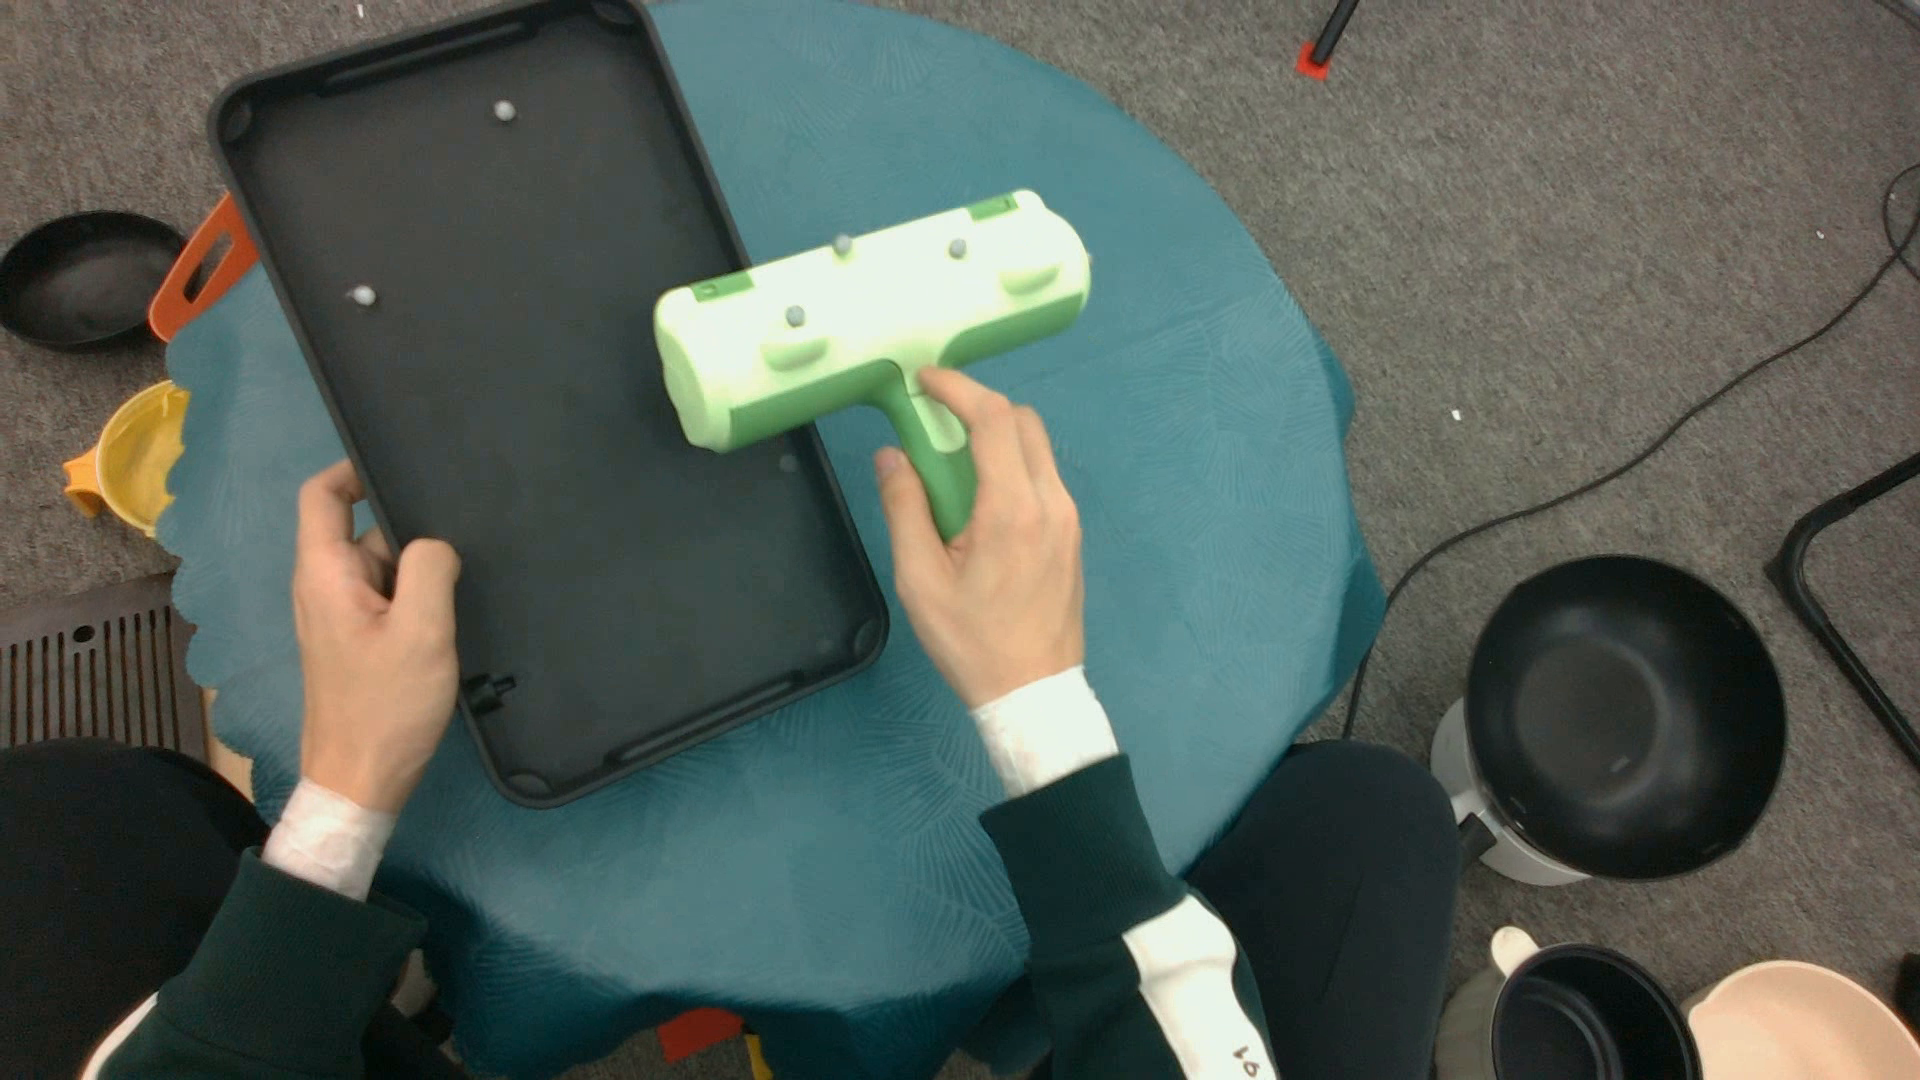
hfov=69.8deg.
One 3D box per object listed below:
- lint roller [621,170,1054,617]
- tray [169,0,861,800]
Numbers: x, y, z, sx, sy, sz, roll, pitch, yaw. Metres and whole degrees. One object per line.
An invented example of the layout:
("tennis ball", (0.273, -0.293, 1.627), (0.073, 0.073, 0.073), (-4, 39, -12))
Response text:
("lint roller", (-0.018, -0.057, 0.585), (0.199, 0.082, 0.183), (-25, 83, -29))
("tray", (-0.181, -0.065, 0.594), (0.185, 0.037, 0.317), (-24, 98, -17))
